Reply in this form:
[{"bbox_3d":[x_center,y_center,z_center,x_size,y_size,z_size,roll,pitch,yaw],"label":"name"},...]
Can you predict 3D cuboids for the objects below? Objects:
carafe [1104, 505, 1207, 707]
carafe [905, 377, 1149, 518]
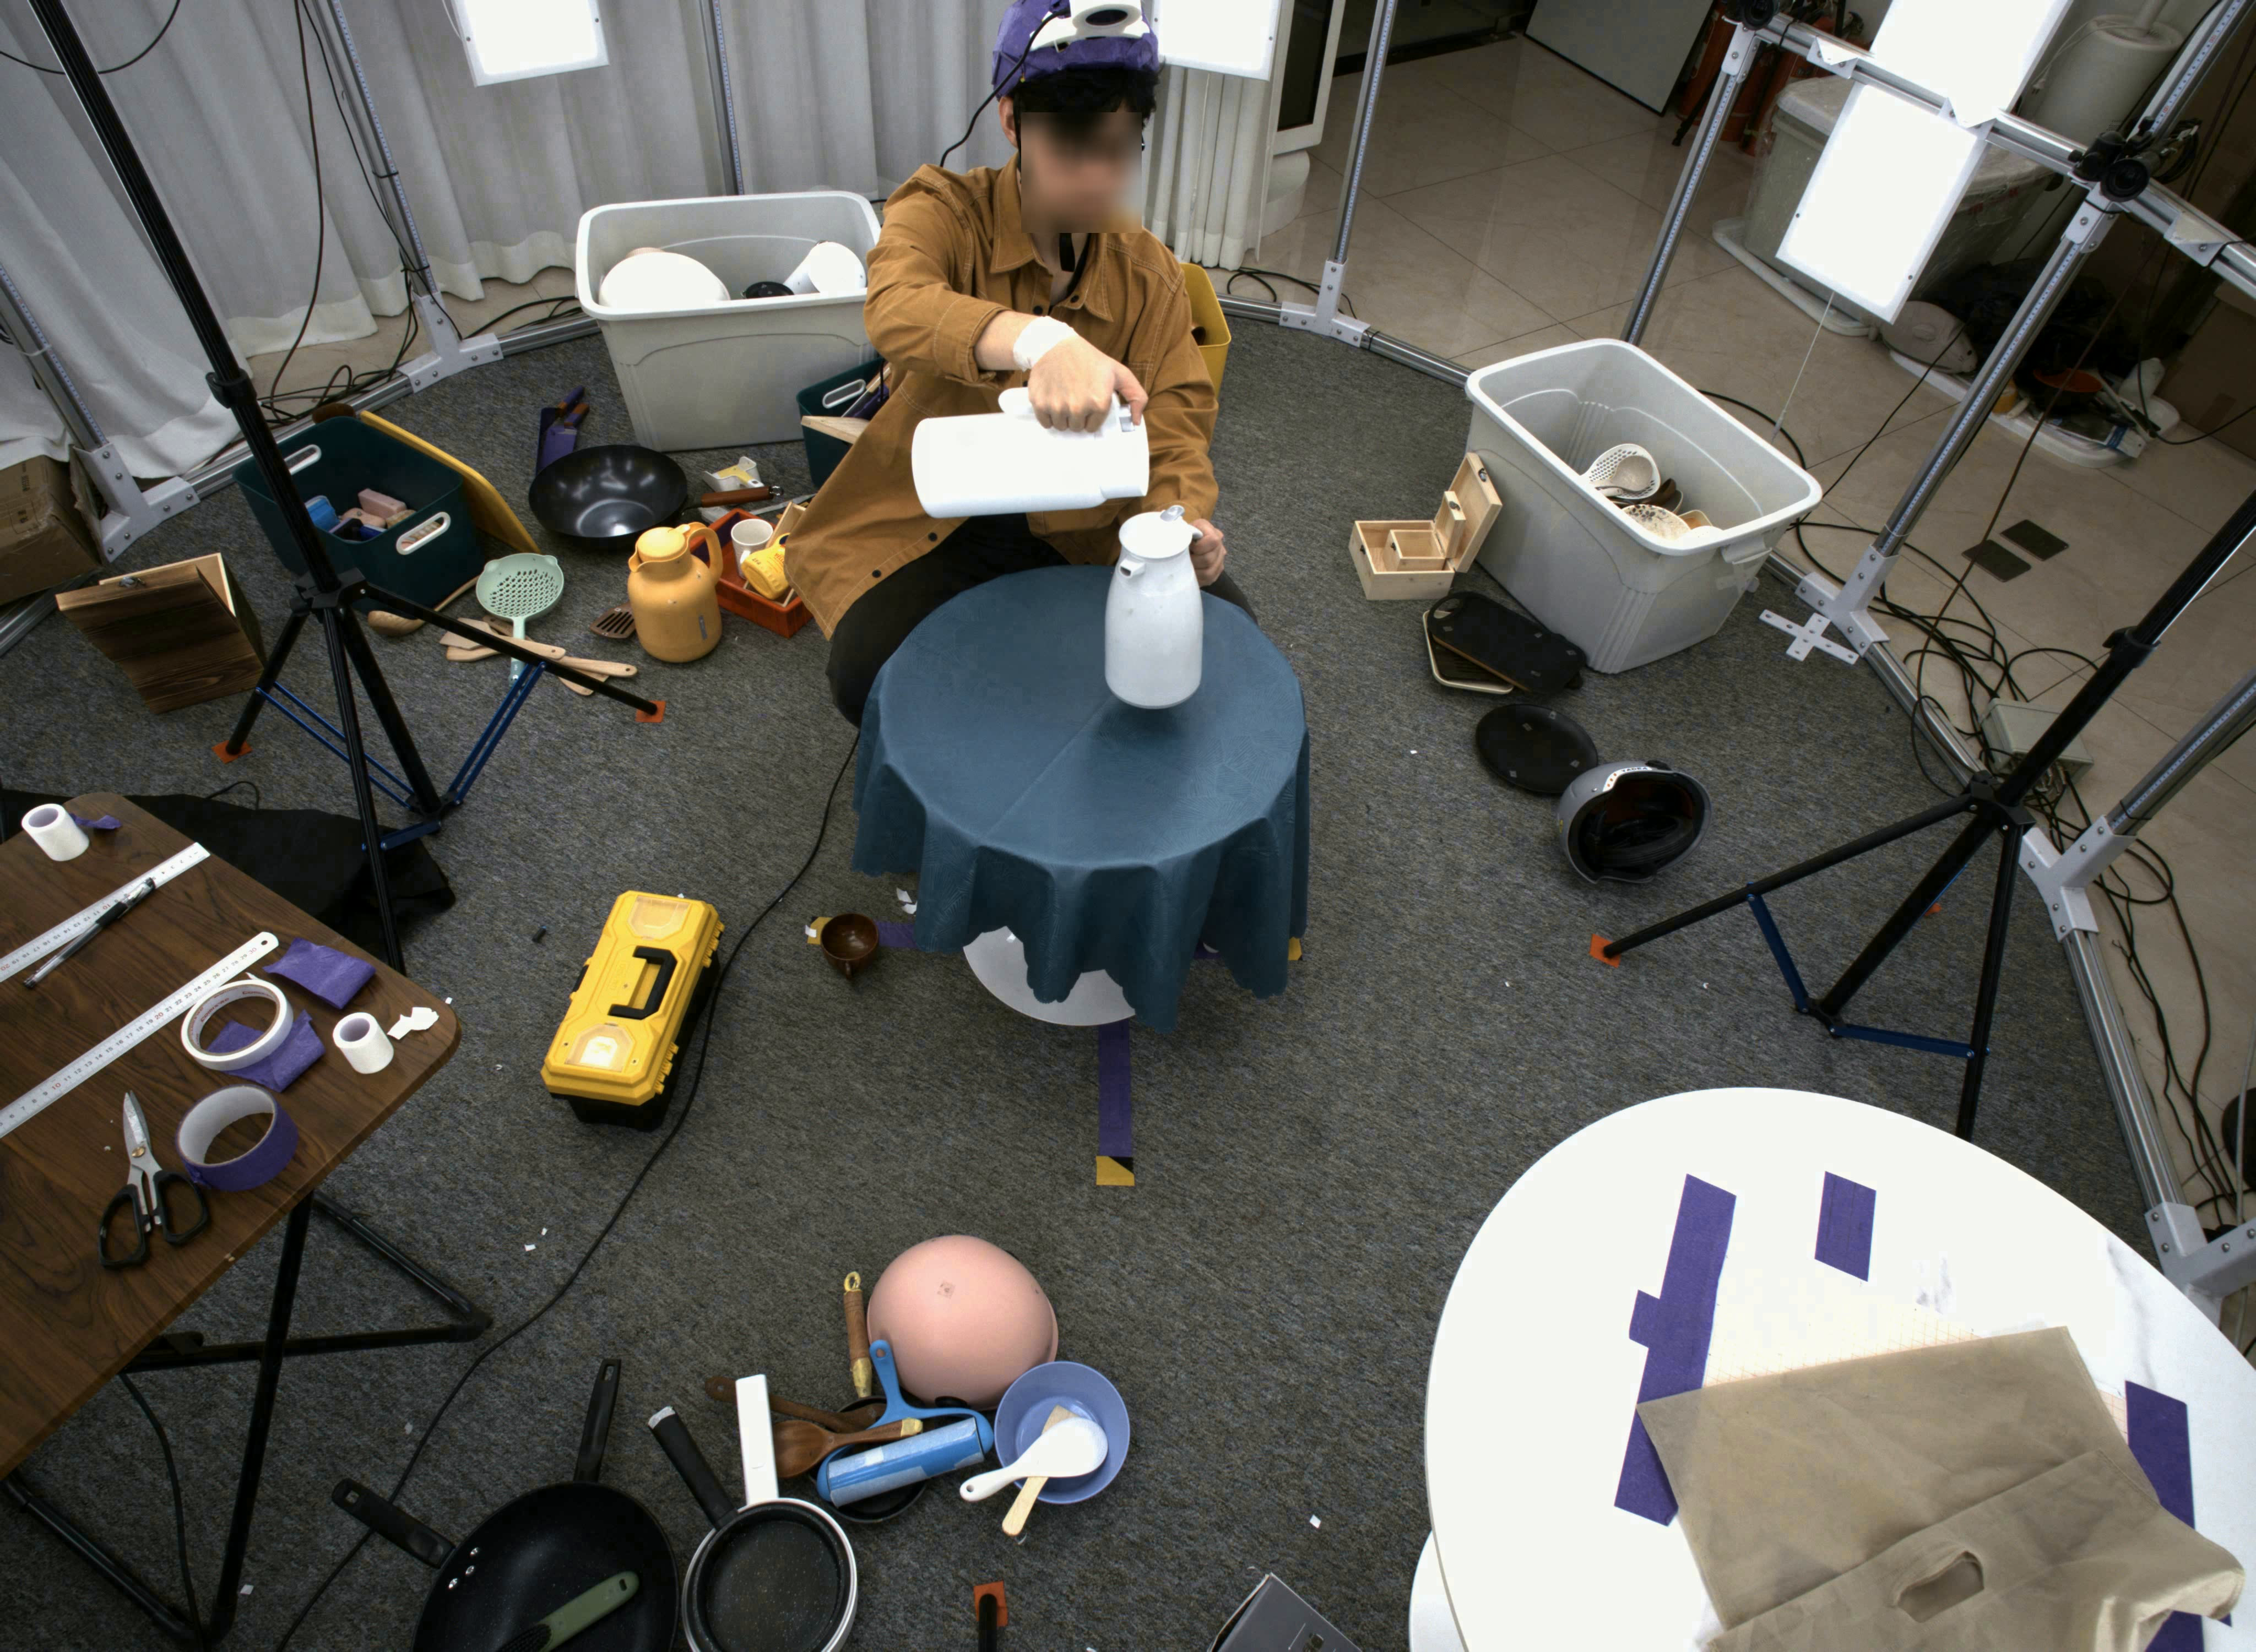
[{"bbox_3d":[0.044,-0.299,1.680,0.134,0.242,0.170,30,55,24],"label":"carafe"},{"bbox_3d":[-0.119,-0.434,1.491,0.269,0.169,0.126,0,64,13],"label":"carafe"}]
